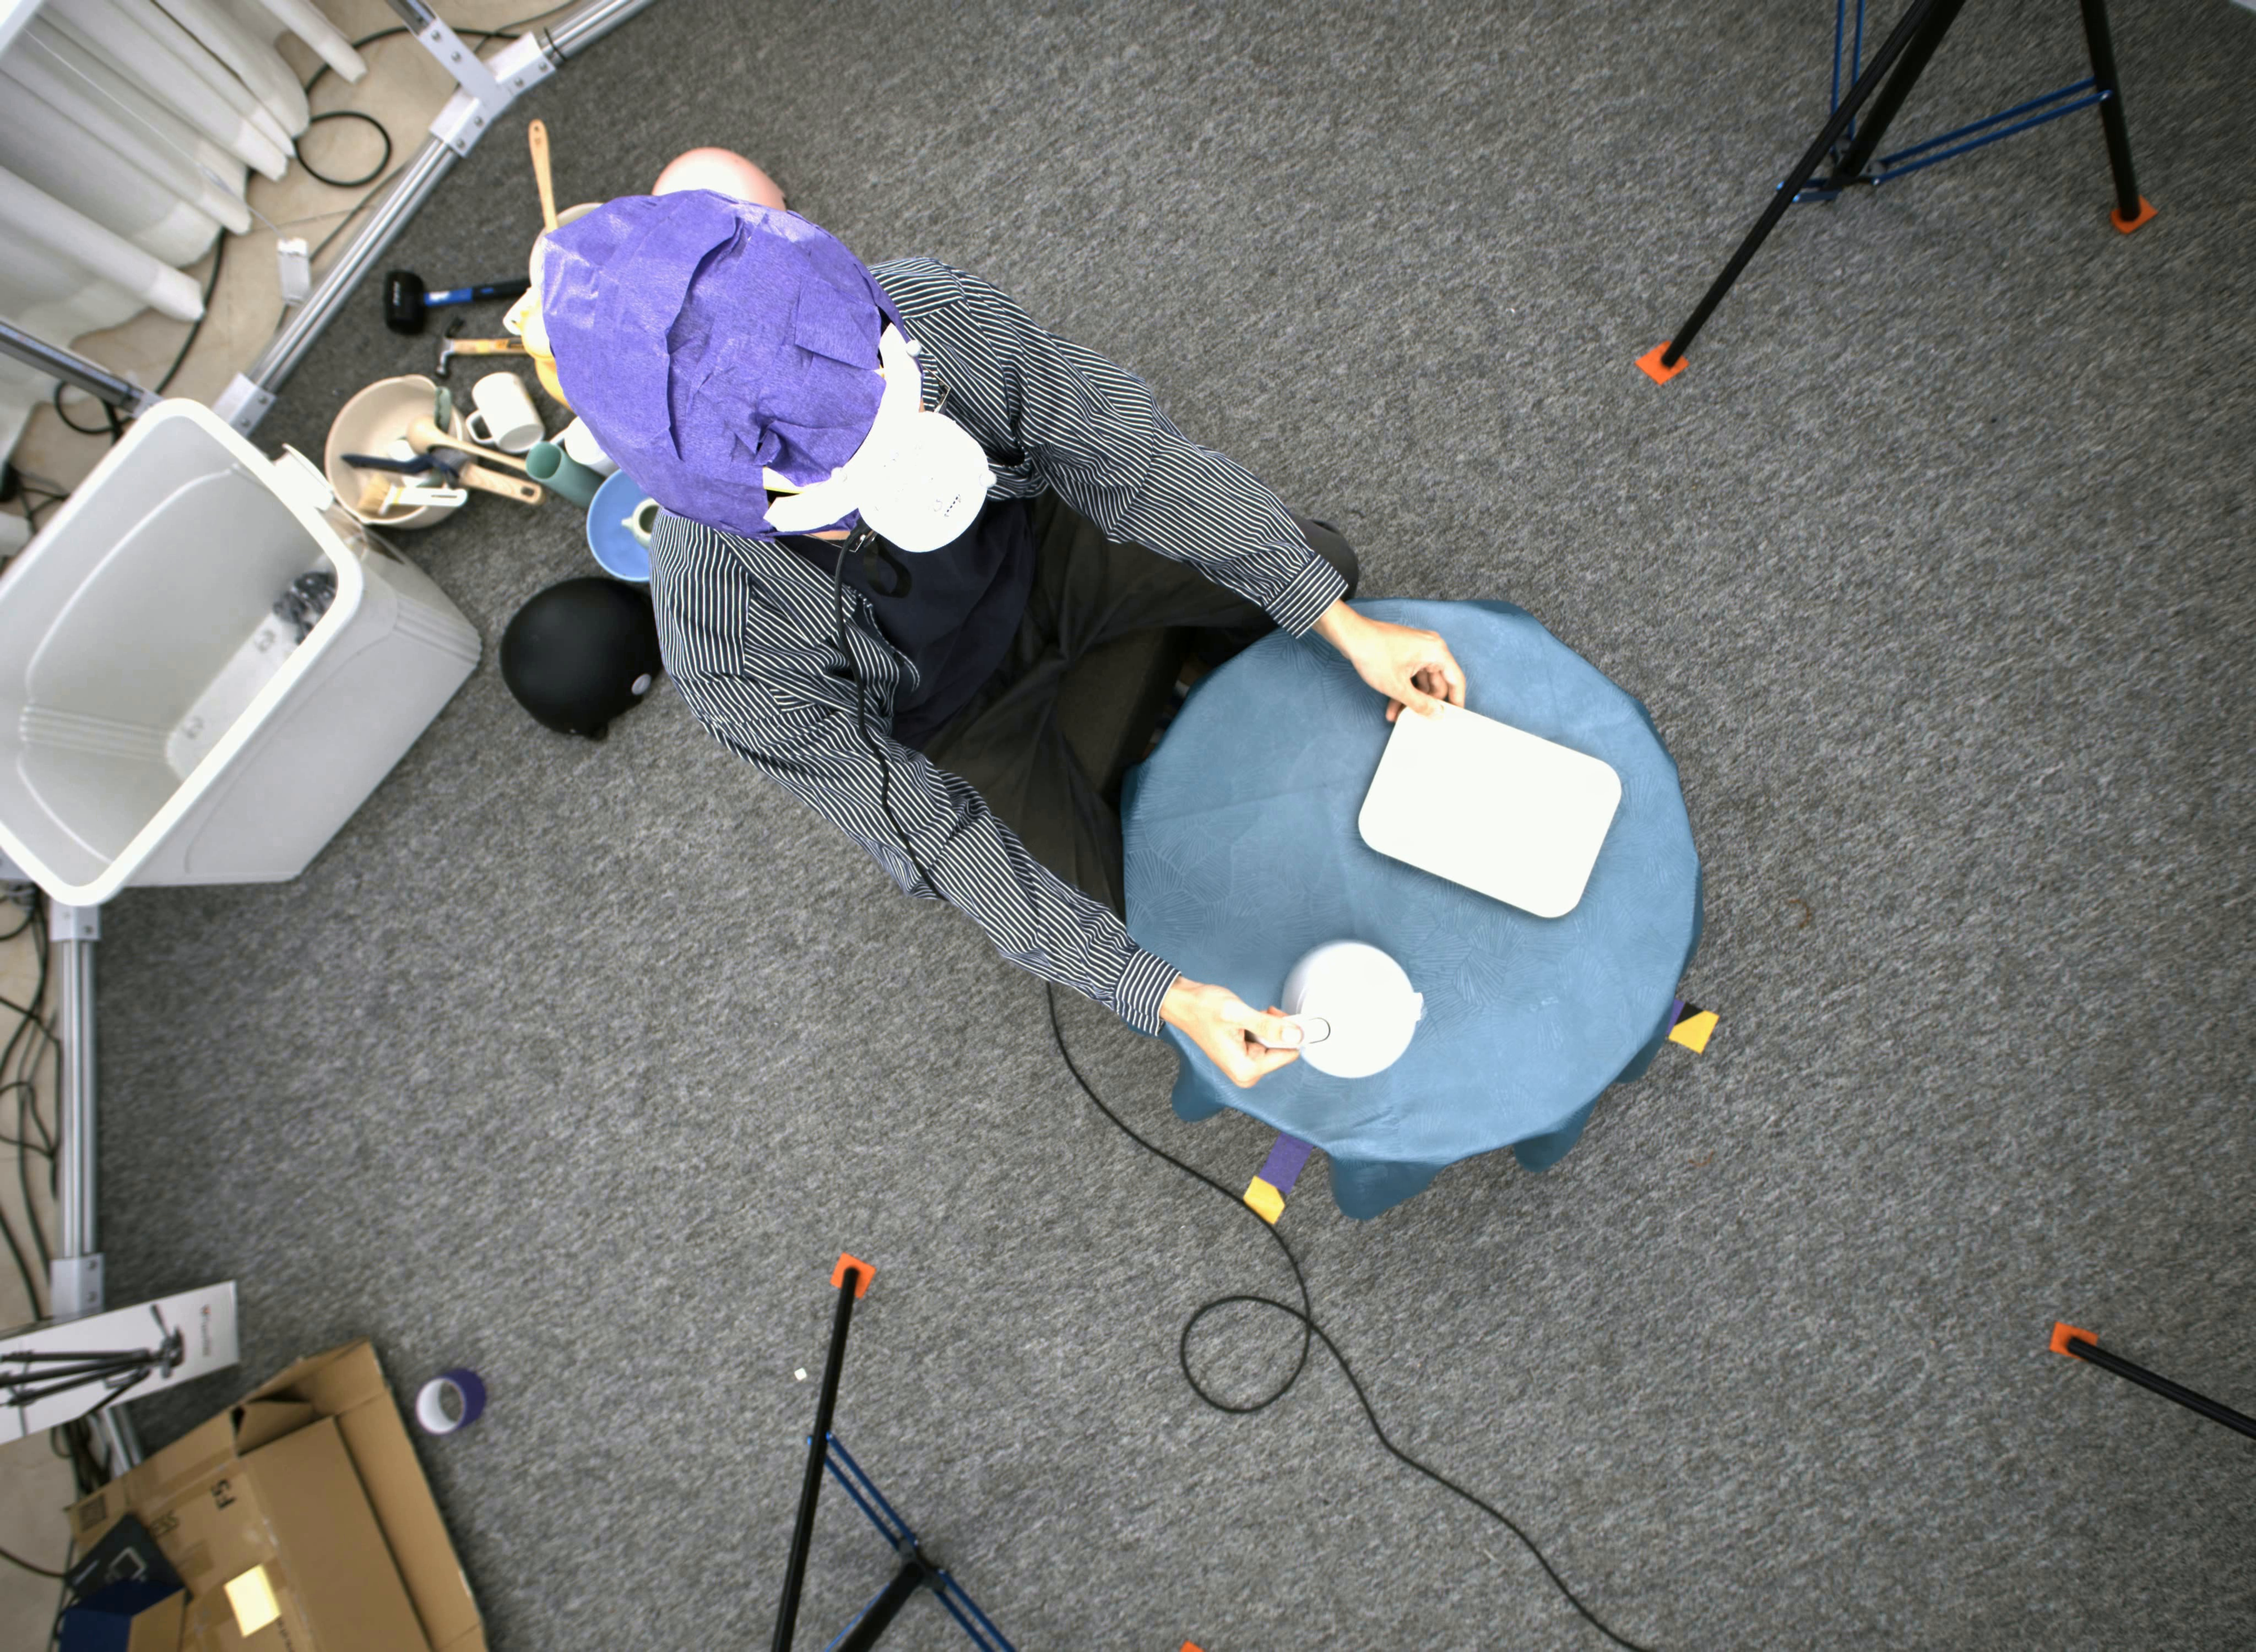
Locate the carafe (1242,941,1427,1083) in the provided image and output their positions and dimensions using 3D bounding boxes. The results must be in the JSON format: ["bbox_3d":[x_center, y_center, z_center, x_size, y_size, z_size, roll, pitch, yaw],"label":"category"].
[{"bbox_3d":[0.190,0.184,1.300,0.168,0.248,0.132,-18,86,7],"label":"carafe"}]

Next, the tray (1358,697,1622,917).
[{"bbox_3d":[0.370,-0.022,1.410,0.239,0.017,0.172,22,94,8],"label":"tray"}]
